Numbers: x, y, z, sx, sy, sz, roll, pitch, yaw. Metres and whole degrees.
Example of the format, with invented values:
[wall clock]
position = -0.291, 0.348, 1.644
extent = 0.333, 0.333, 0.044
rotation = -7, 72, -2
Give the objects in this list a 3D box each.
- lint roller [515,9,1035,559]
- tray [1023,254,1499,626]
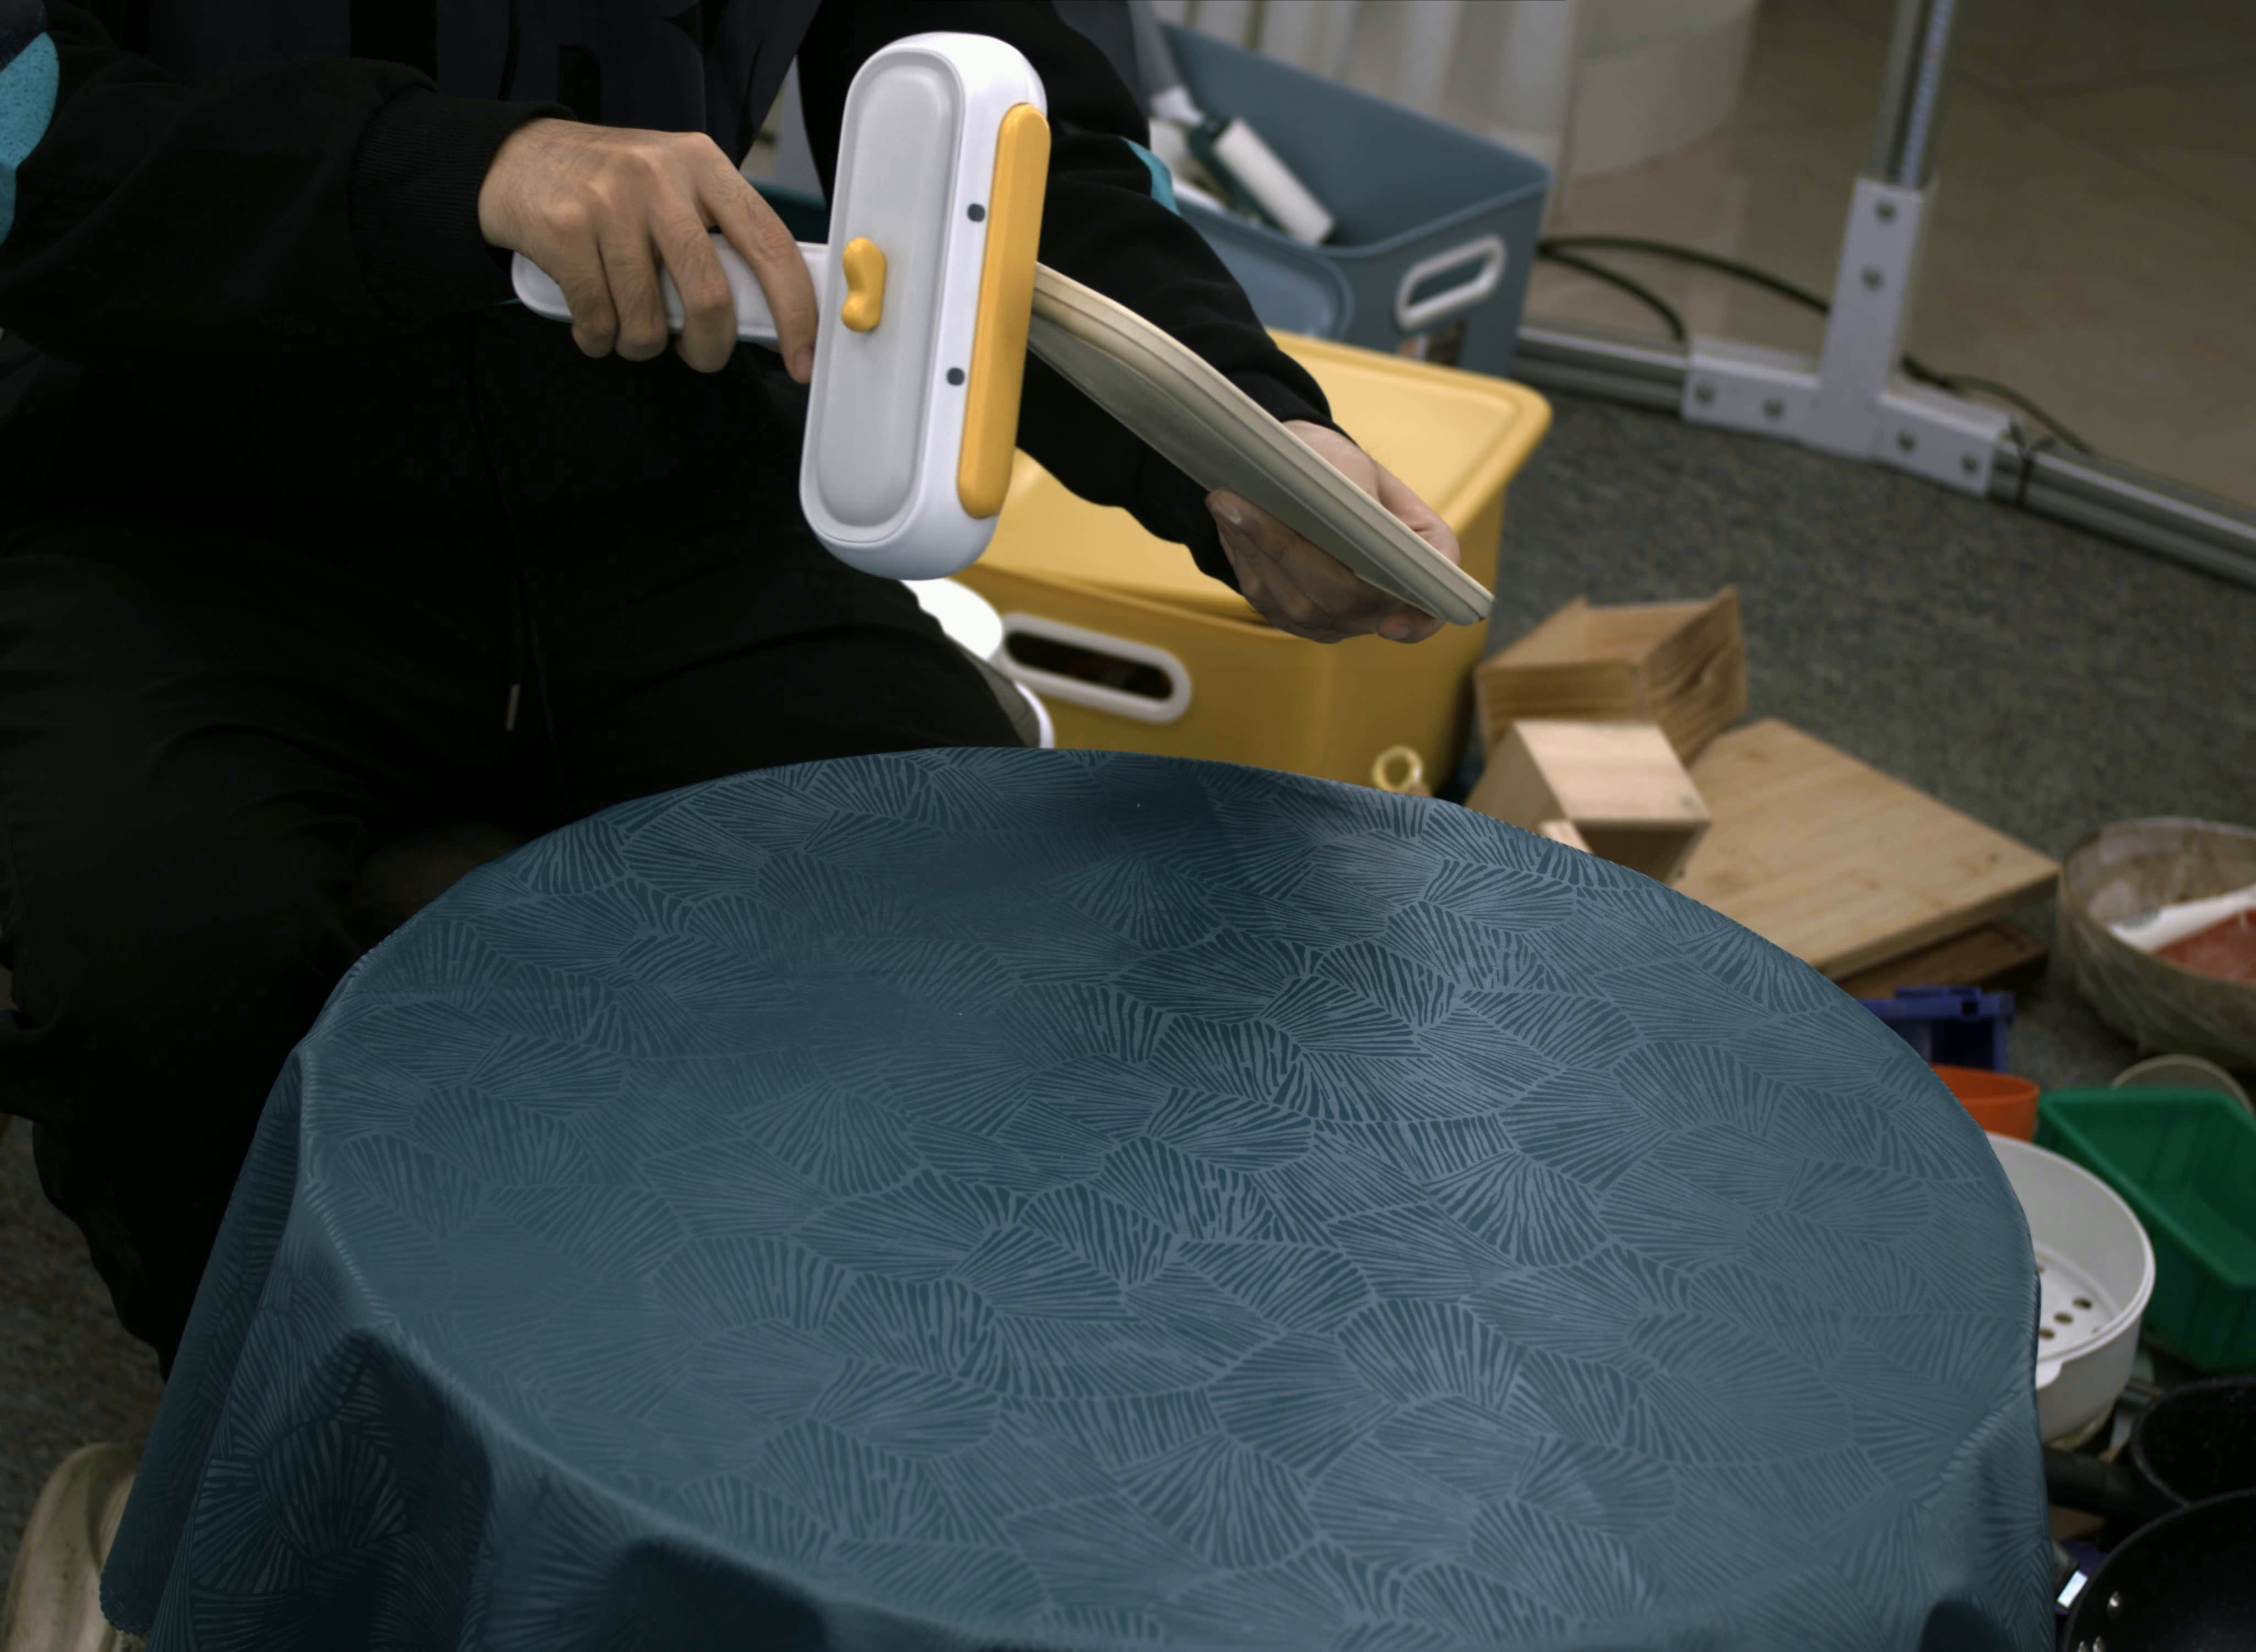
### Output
[lint roller]
position = -0.125, -0.192, 1.894
extent = 0.193, 0.193, 0.074
rotation = 2, 2, 28
[tray]
position = 0.025, -0.148, 1.967
extent = 0.172, 0.017, 0.237
rotation = 30, -4, 47
